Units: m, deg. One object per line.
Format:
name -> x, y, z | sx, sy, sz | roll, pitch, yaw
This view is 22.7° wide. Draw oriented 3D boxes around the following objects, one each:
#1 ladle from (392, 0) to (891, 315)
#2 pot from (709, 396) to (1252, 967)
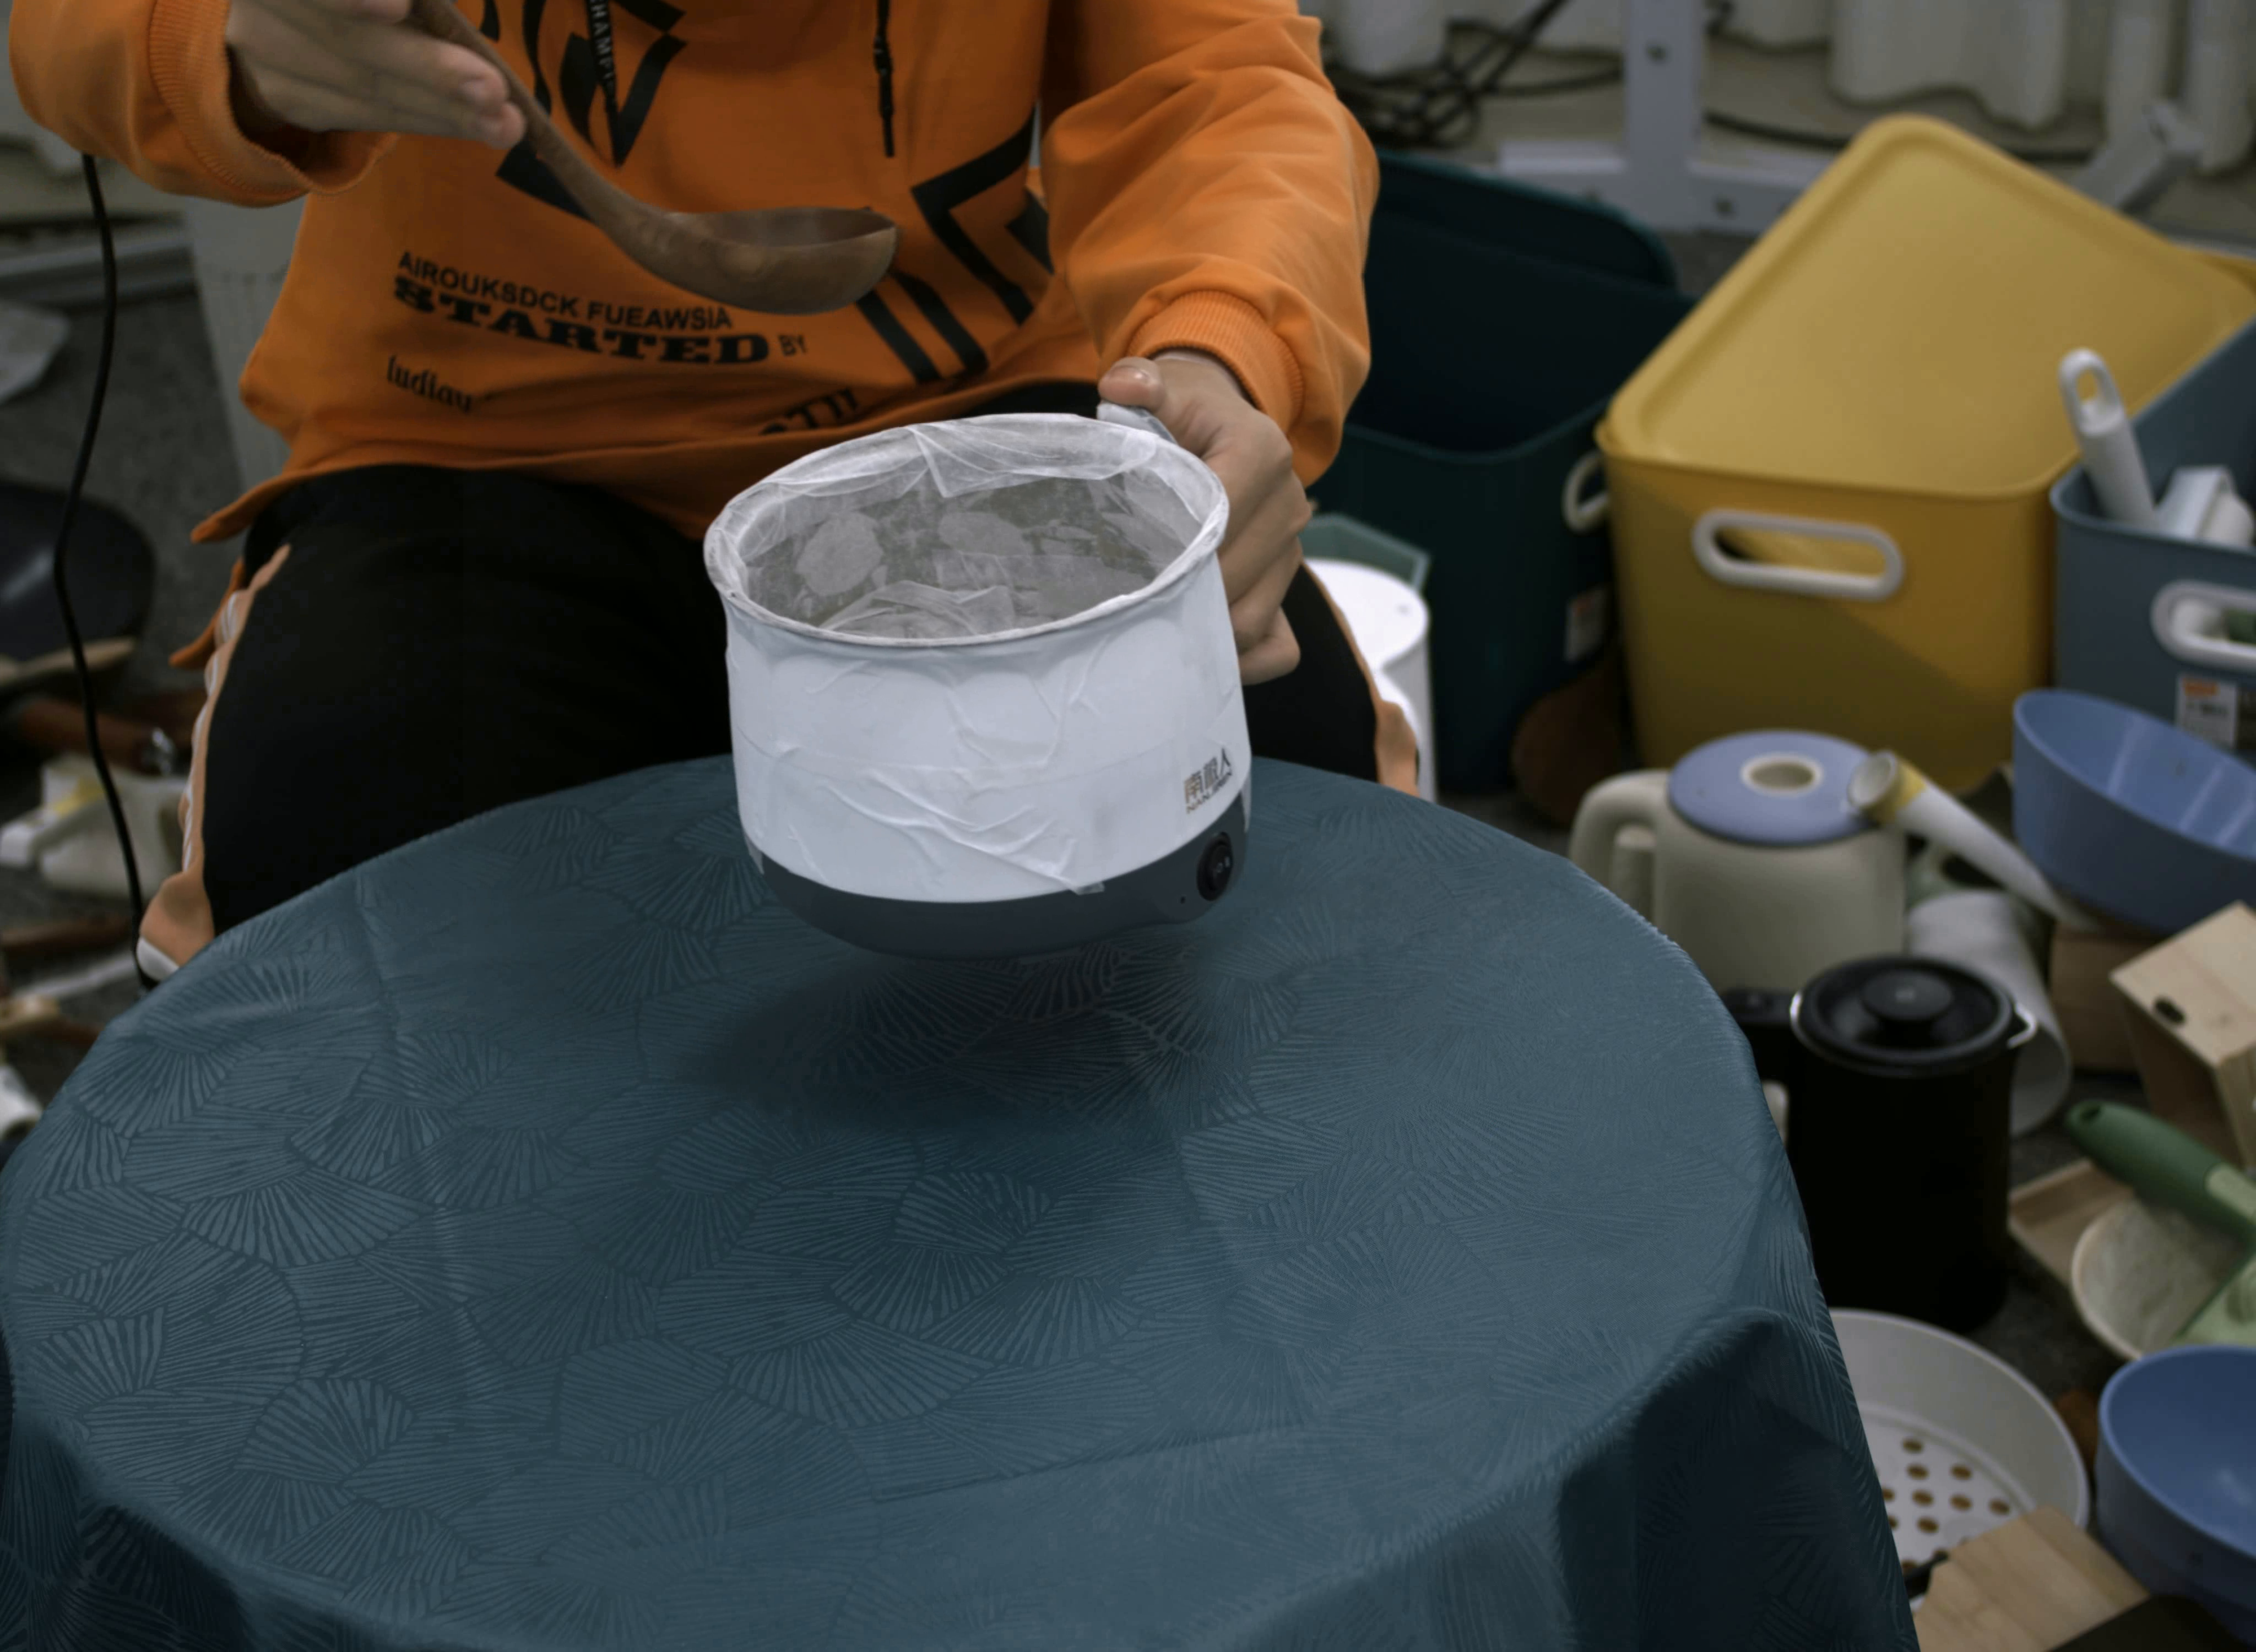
ladle -> -0.188, -0.243, 1.791 | 0.065, 0.259, 0.076 | -53, 19, -3
pot -> -0.034, -0.057, 1.932 | 0.177, 0.135, 0.237 | 11, 31, 27
